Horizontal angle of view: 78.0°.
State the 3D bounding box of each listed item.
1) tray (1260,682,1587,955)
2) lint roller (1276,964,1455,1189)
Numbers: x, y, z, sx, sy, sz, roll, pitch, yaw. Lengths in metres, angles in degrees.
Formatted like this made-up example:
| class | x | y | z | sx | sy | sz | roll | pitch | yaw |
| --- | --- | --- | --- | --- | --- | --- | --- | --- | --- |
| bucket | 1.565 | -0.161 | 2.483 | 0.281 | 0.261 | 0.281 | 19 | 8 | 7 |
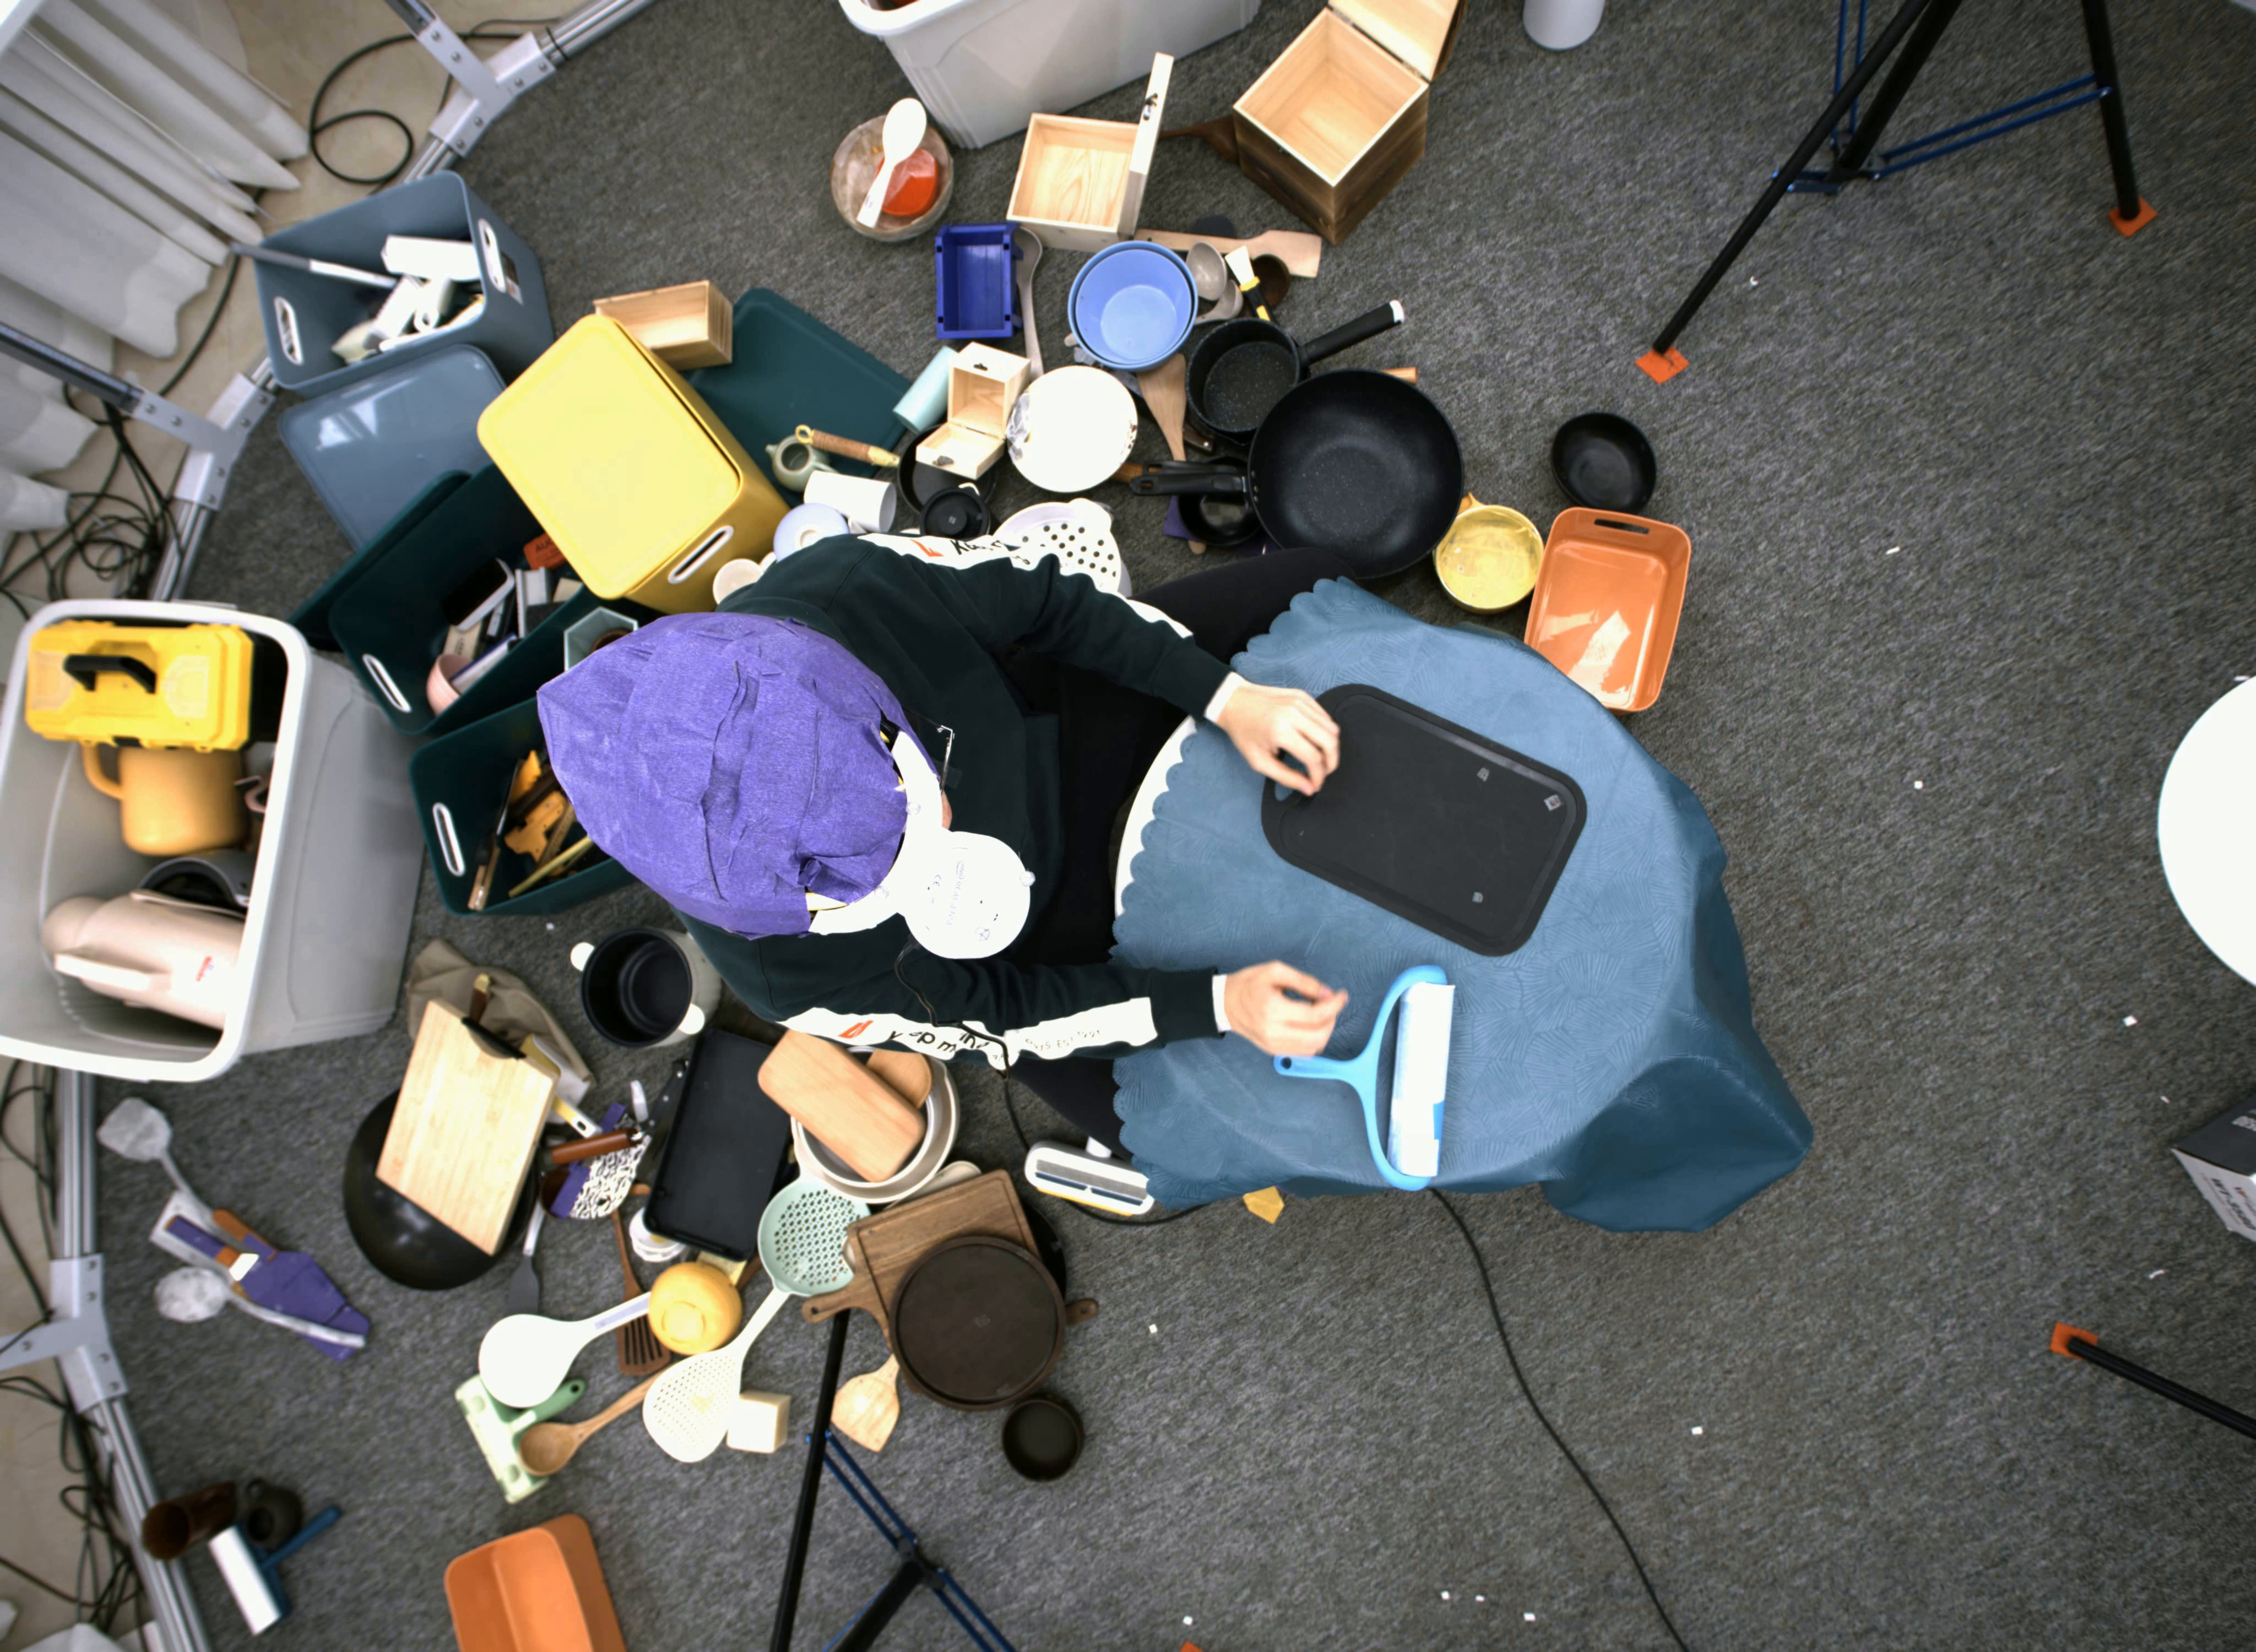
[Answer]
| class | x | y | z | sx | sy | sz | roll | pitch | yaw |
| --- | --- | --- | --- | --- | --- | --- | --- | --- | --- |
| tray | 0.302 | -0.015 | 1.450 | 0.325 | 0.010 | 0.211 | 27 | 92 | 11 |
| lint roller | 0.241 | 0.252 | 1.423 | 0.181 | 0.068 | 0.228 | 2 | 89 | 9 |
